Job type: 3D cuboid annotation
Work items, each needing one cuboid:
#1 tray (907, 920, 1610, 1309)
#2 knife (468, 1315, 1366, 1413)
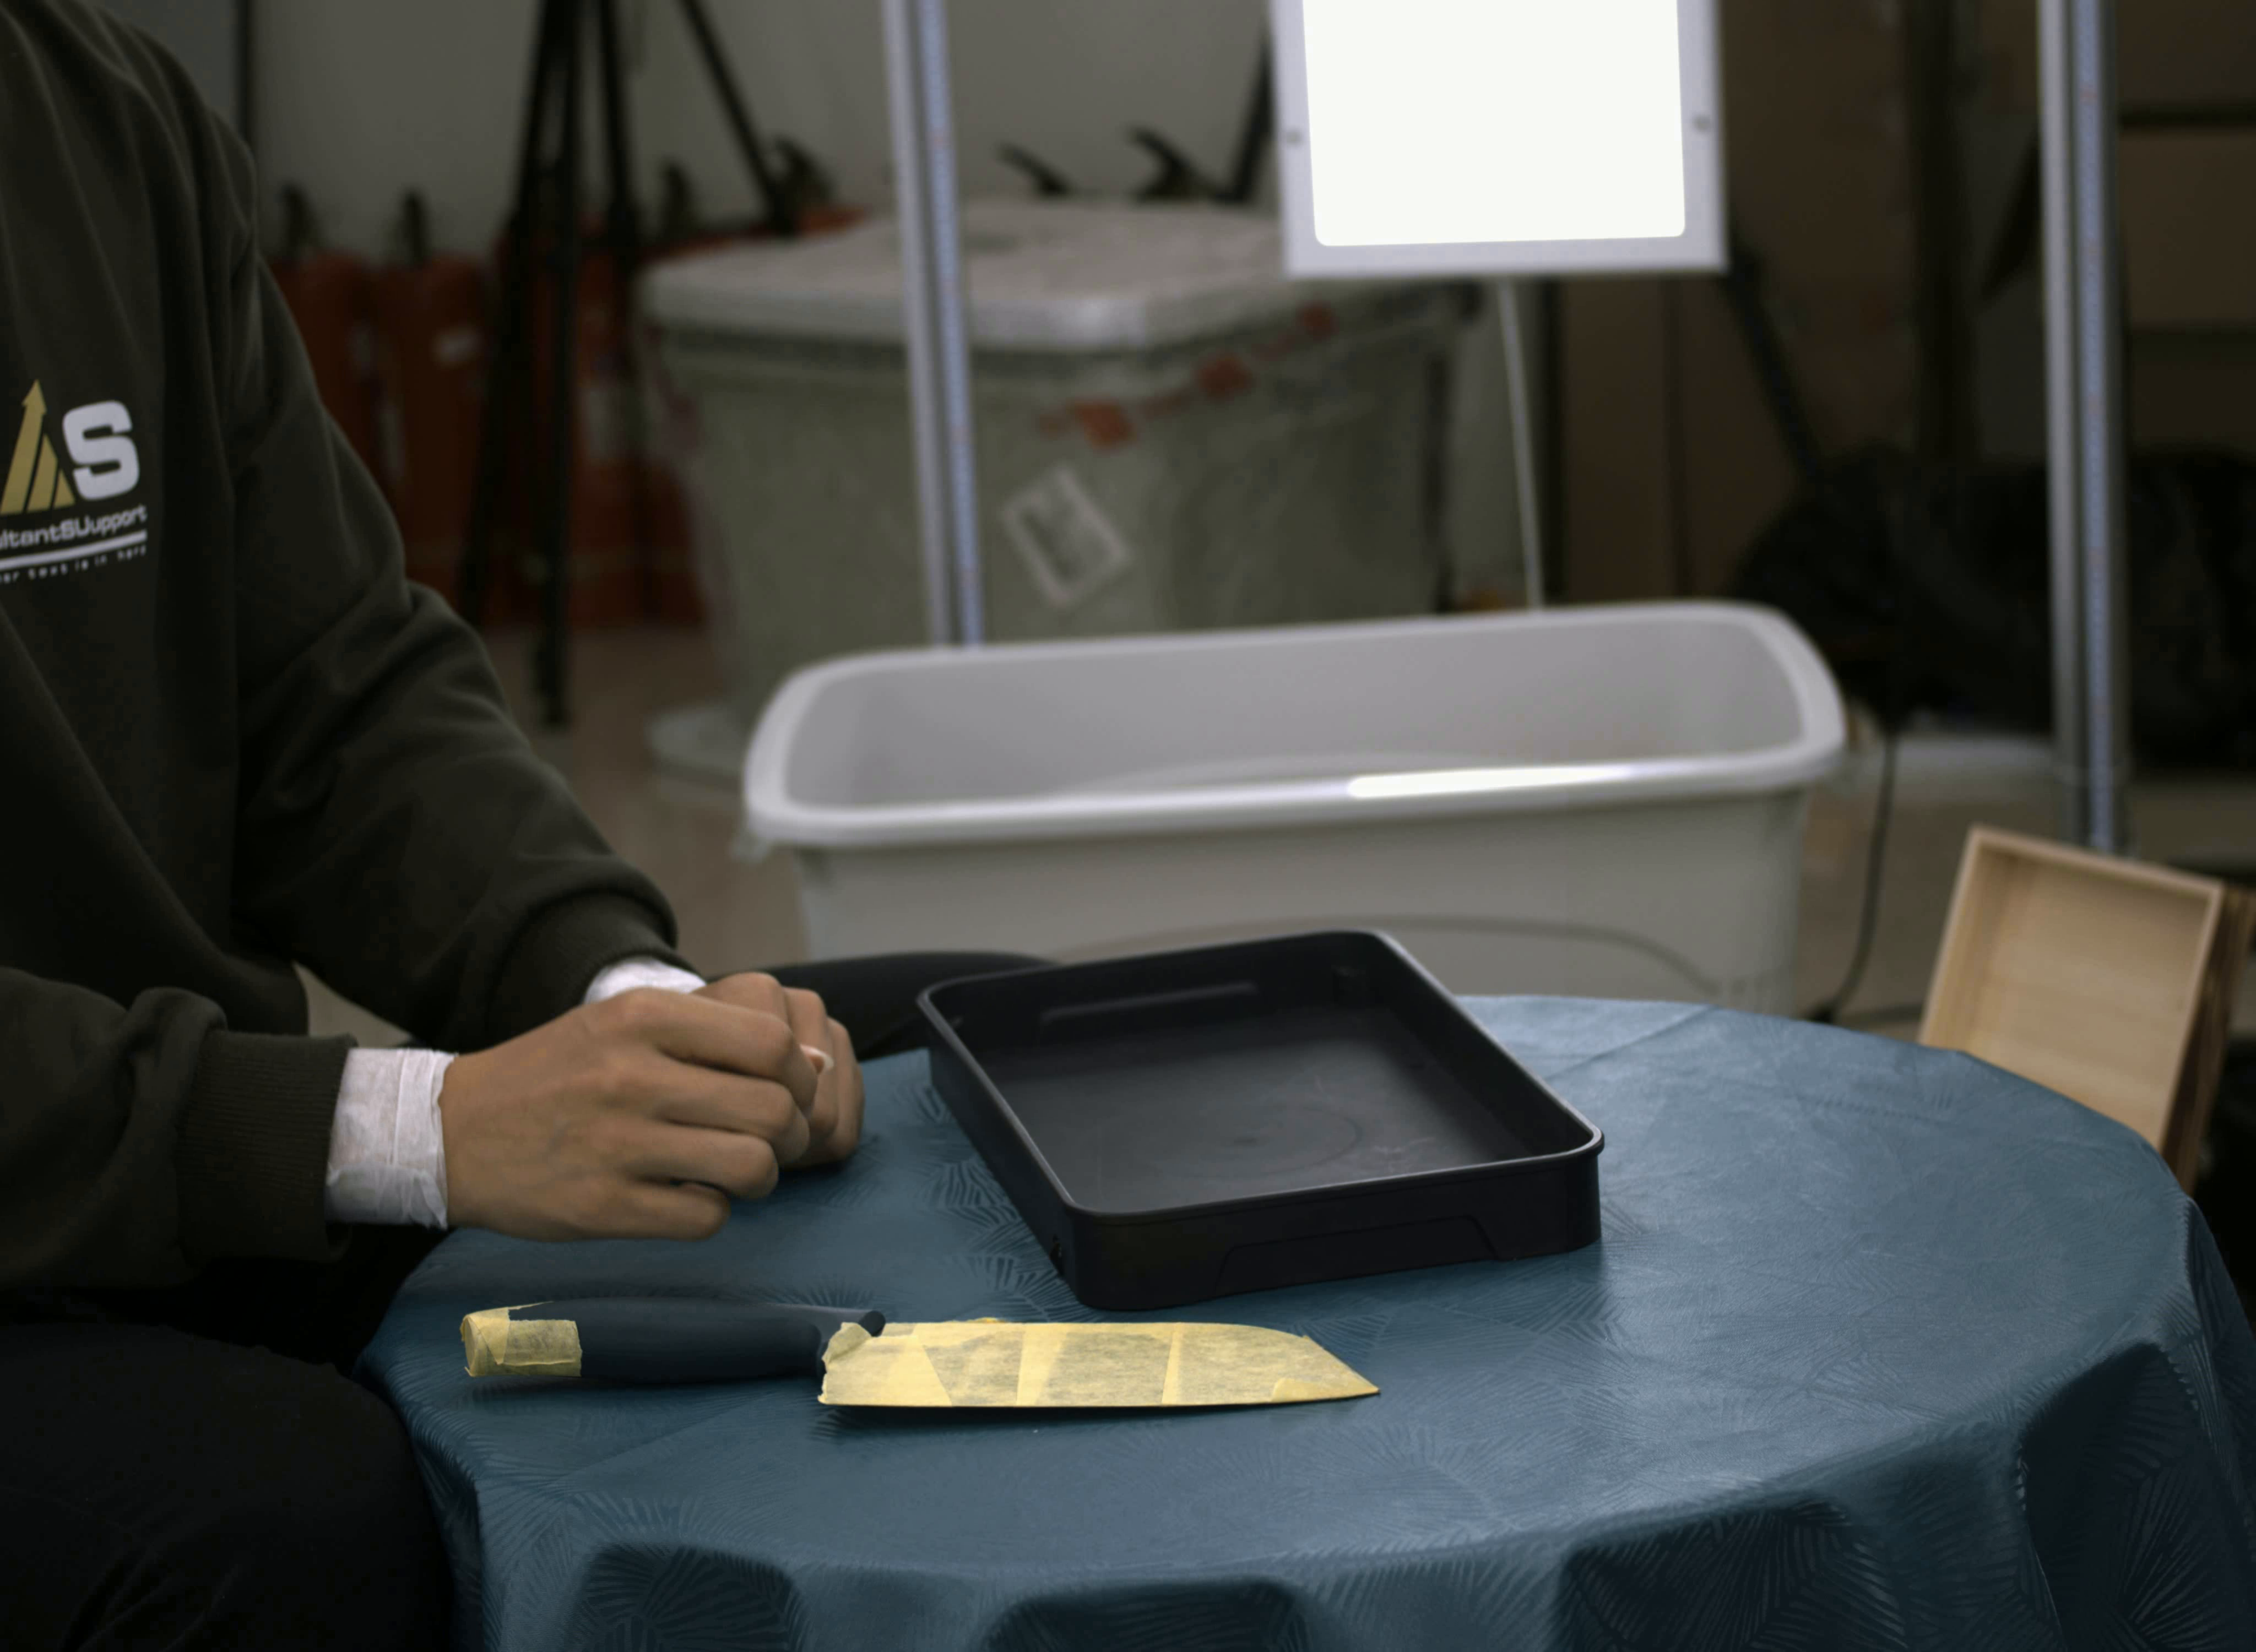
[{"bbox_3d":[0.040,0.097,1.936,0.182,0.037,0.320,-9,14,-11],"label":"tray"},{"bbox_3d":[-0.068,0.170,1.722,0.291,0.027,0.080,-2,12,10],"label":"knife"}]
